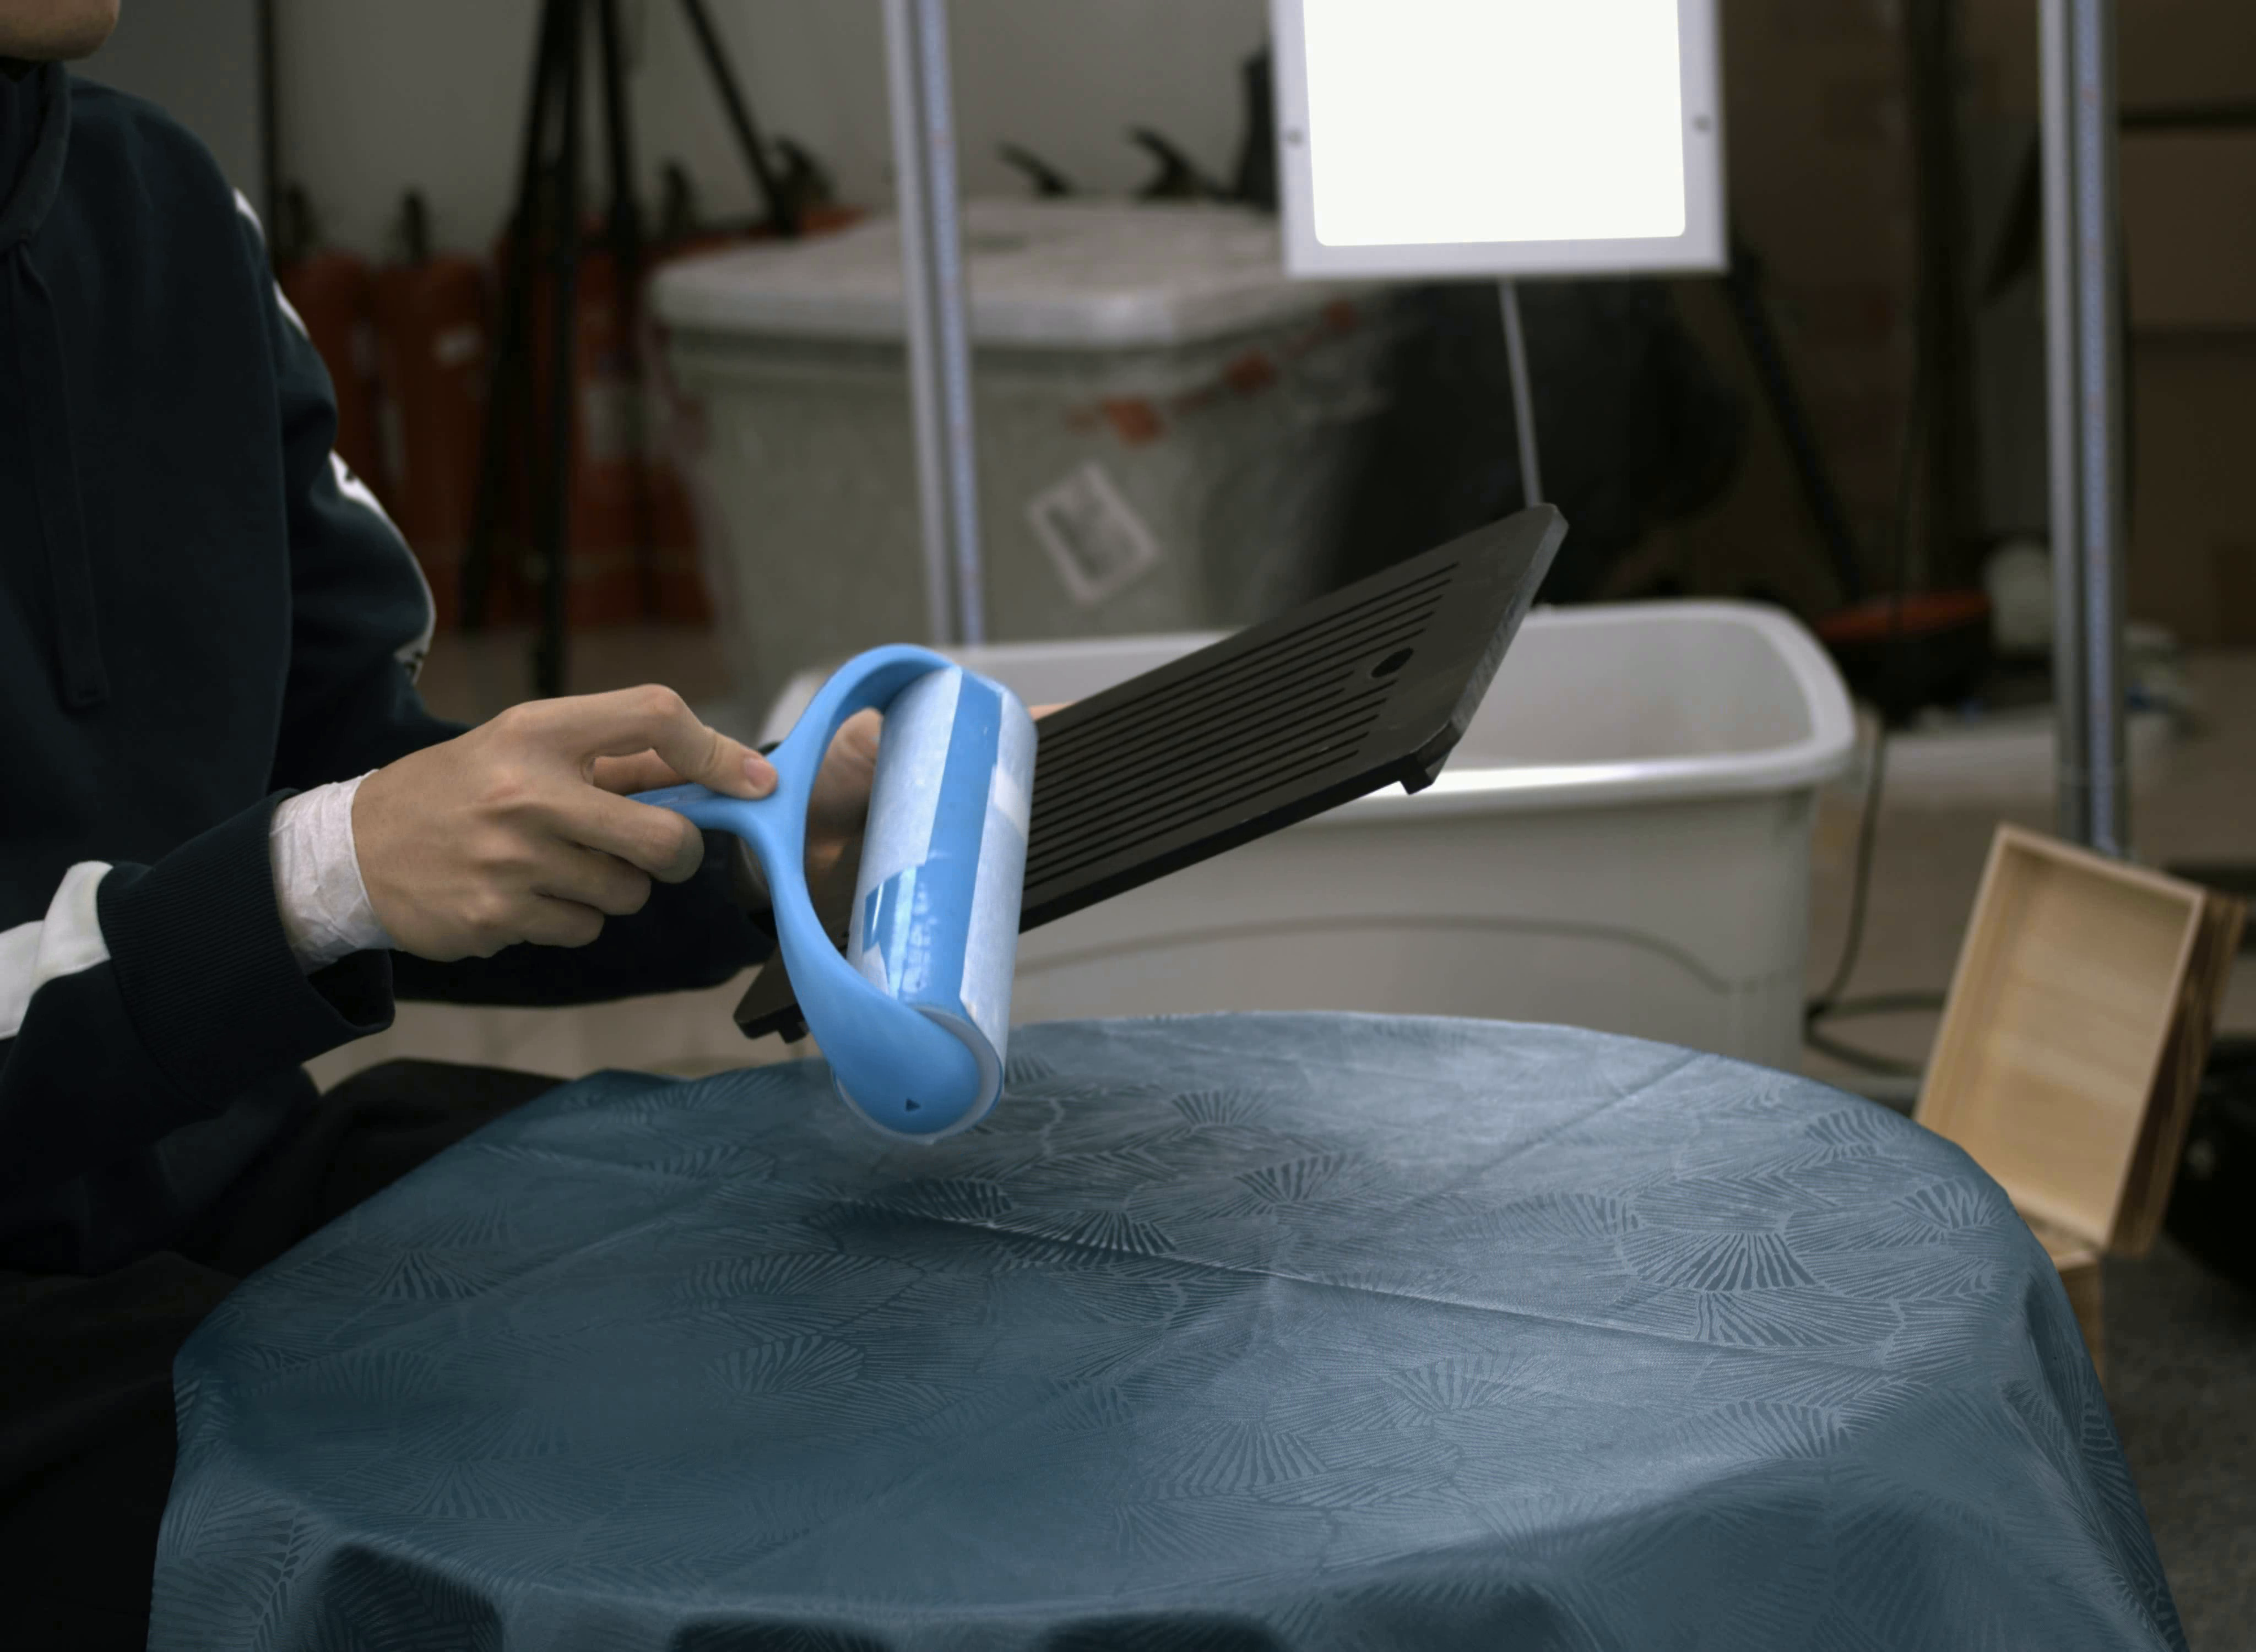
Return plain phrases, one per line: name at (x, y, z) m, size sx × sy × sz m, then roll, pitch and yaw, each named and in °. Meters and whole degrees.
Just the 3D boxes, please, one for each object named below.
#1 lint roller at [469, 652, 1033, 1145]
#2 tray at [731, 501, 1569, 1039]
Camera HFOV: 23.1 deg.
lint roller at (-0.119, 0.017, 1.764) m, size 0.179 × 0.068 × 0.228 m, roll 6°, pitch 35°, yaw -4°
tray at (0.009, -0.016, 1.897) m, size 0.312 × 0.018 × 0.167 m, roll -23°, pitch 21°, yaw 32°
